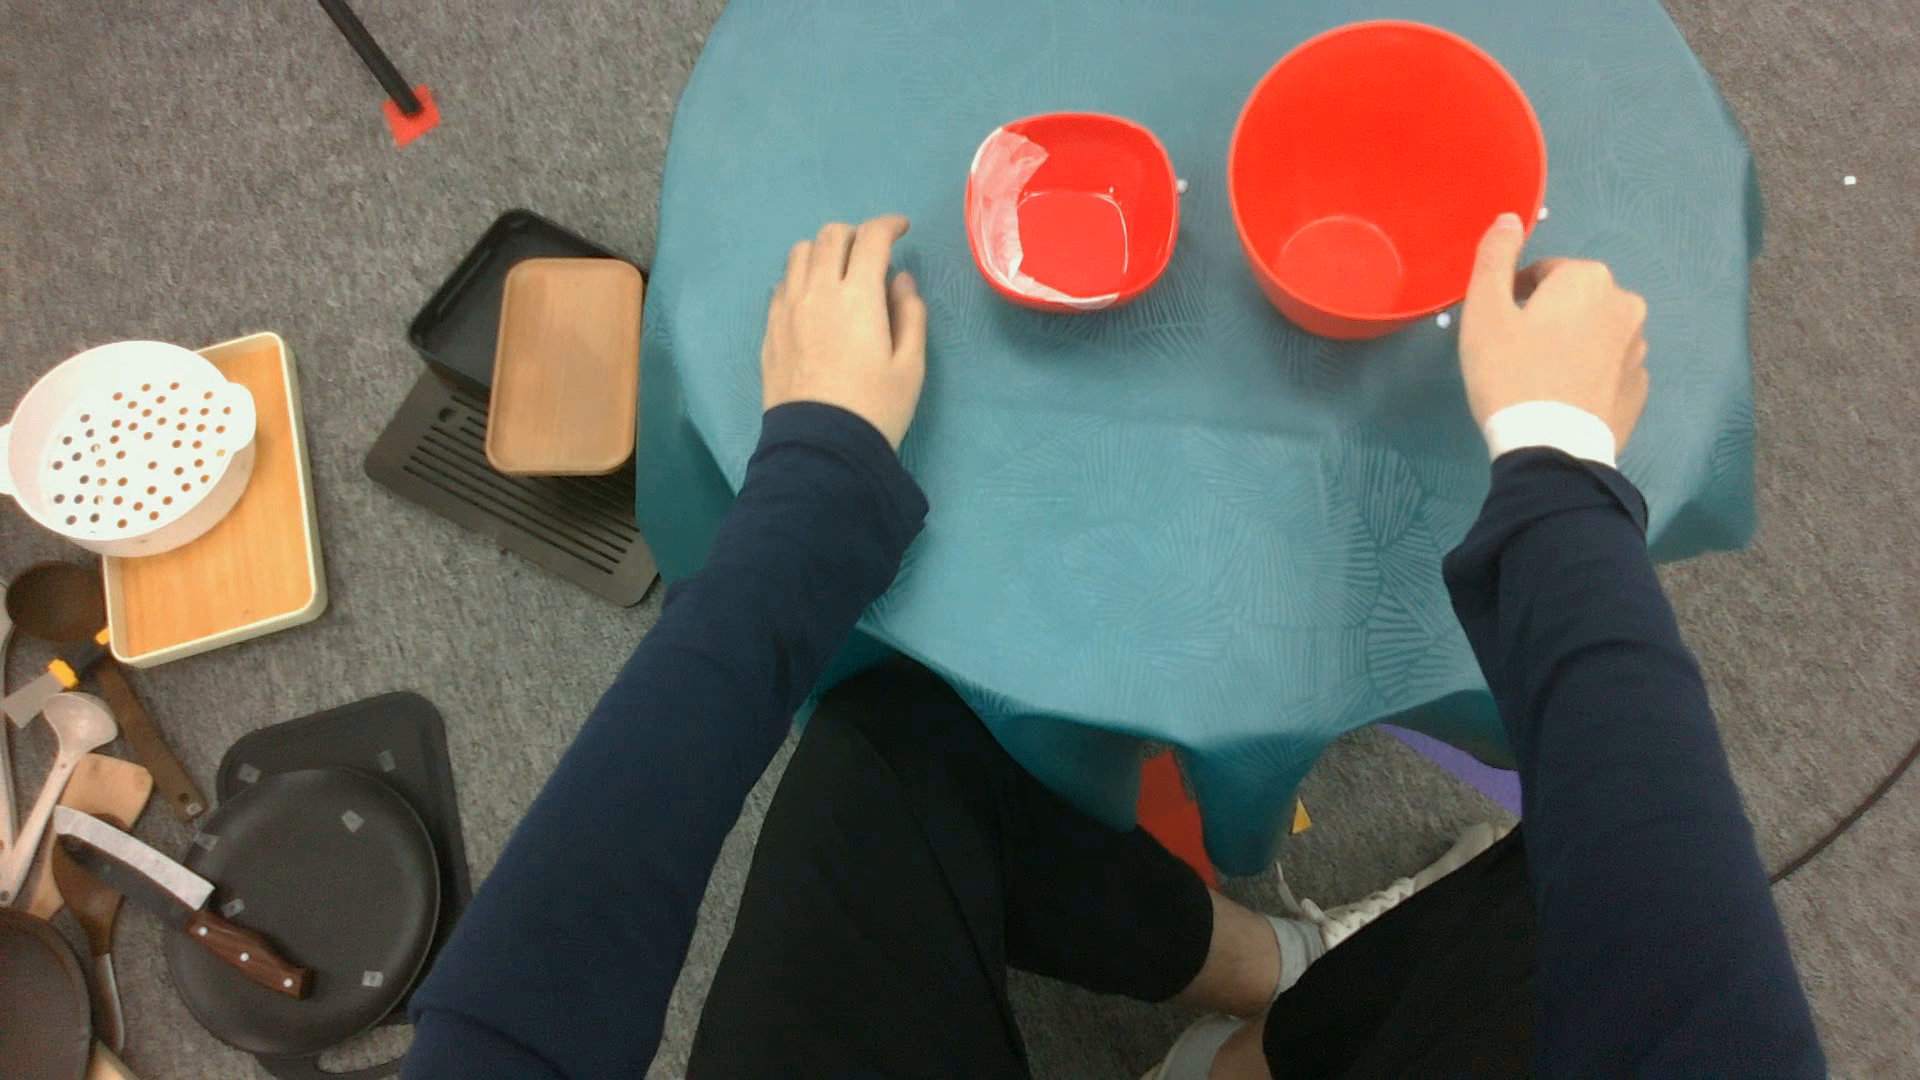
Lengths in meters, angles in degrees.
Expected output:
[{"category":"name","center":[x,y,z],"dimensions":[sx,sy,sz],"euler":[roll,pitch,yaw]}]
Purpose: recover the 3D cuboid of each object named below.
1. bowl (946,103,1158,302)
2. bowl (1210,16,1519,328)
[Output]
[{"category":"bowl","center":[0.048,-0.172,0.737],"dimensions":[0.119,0.051,0.119],"euler":[0,74,0]},{"category":"bowl","center":[0.197,-0.174,0.708],"dimensions":[0.148,0.104,0.148],"euler":[0,74,1]}]
